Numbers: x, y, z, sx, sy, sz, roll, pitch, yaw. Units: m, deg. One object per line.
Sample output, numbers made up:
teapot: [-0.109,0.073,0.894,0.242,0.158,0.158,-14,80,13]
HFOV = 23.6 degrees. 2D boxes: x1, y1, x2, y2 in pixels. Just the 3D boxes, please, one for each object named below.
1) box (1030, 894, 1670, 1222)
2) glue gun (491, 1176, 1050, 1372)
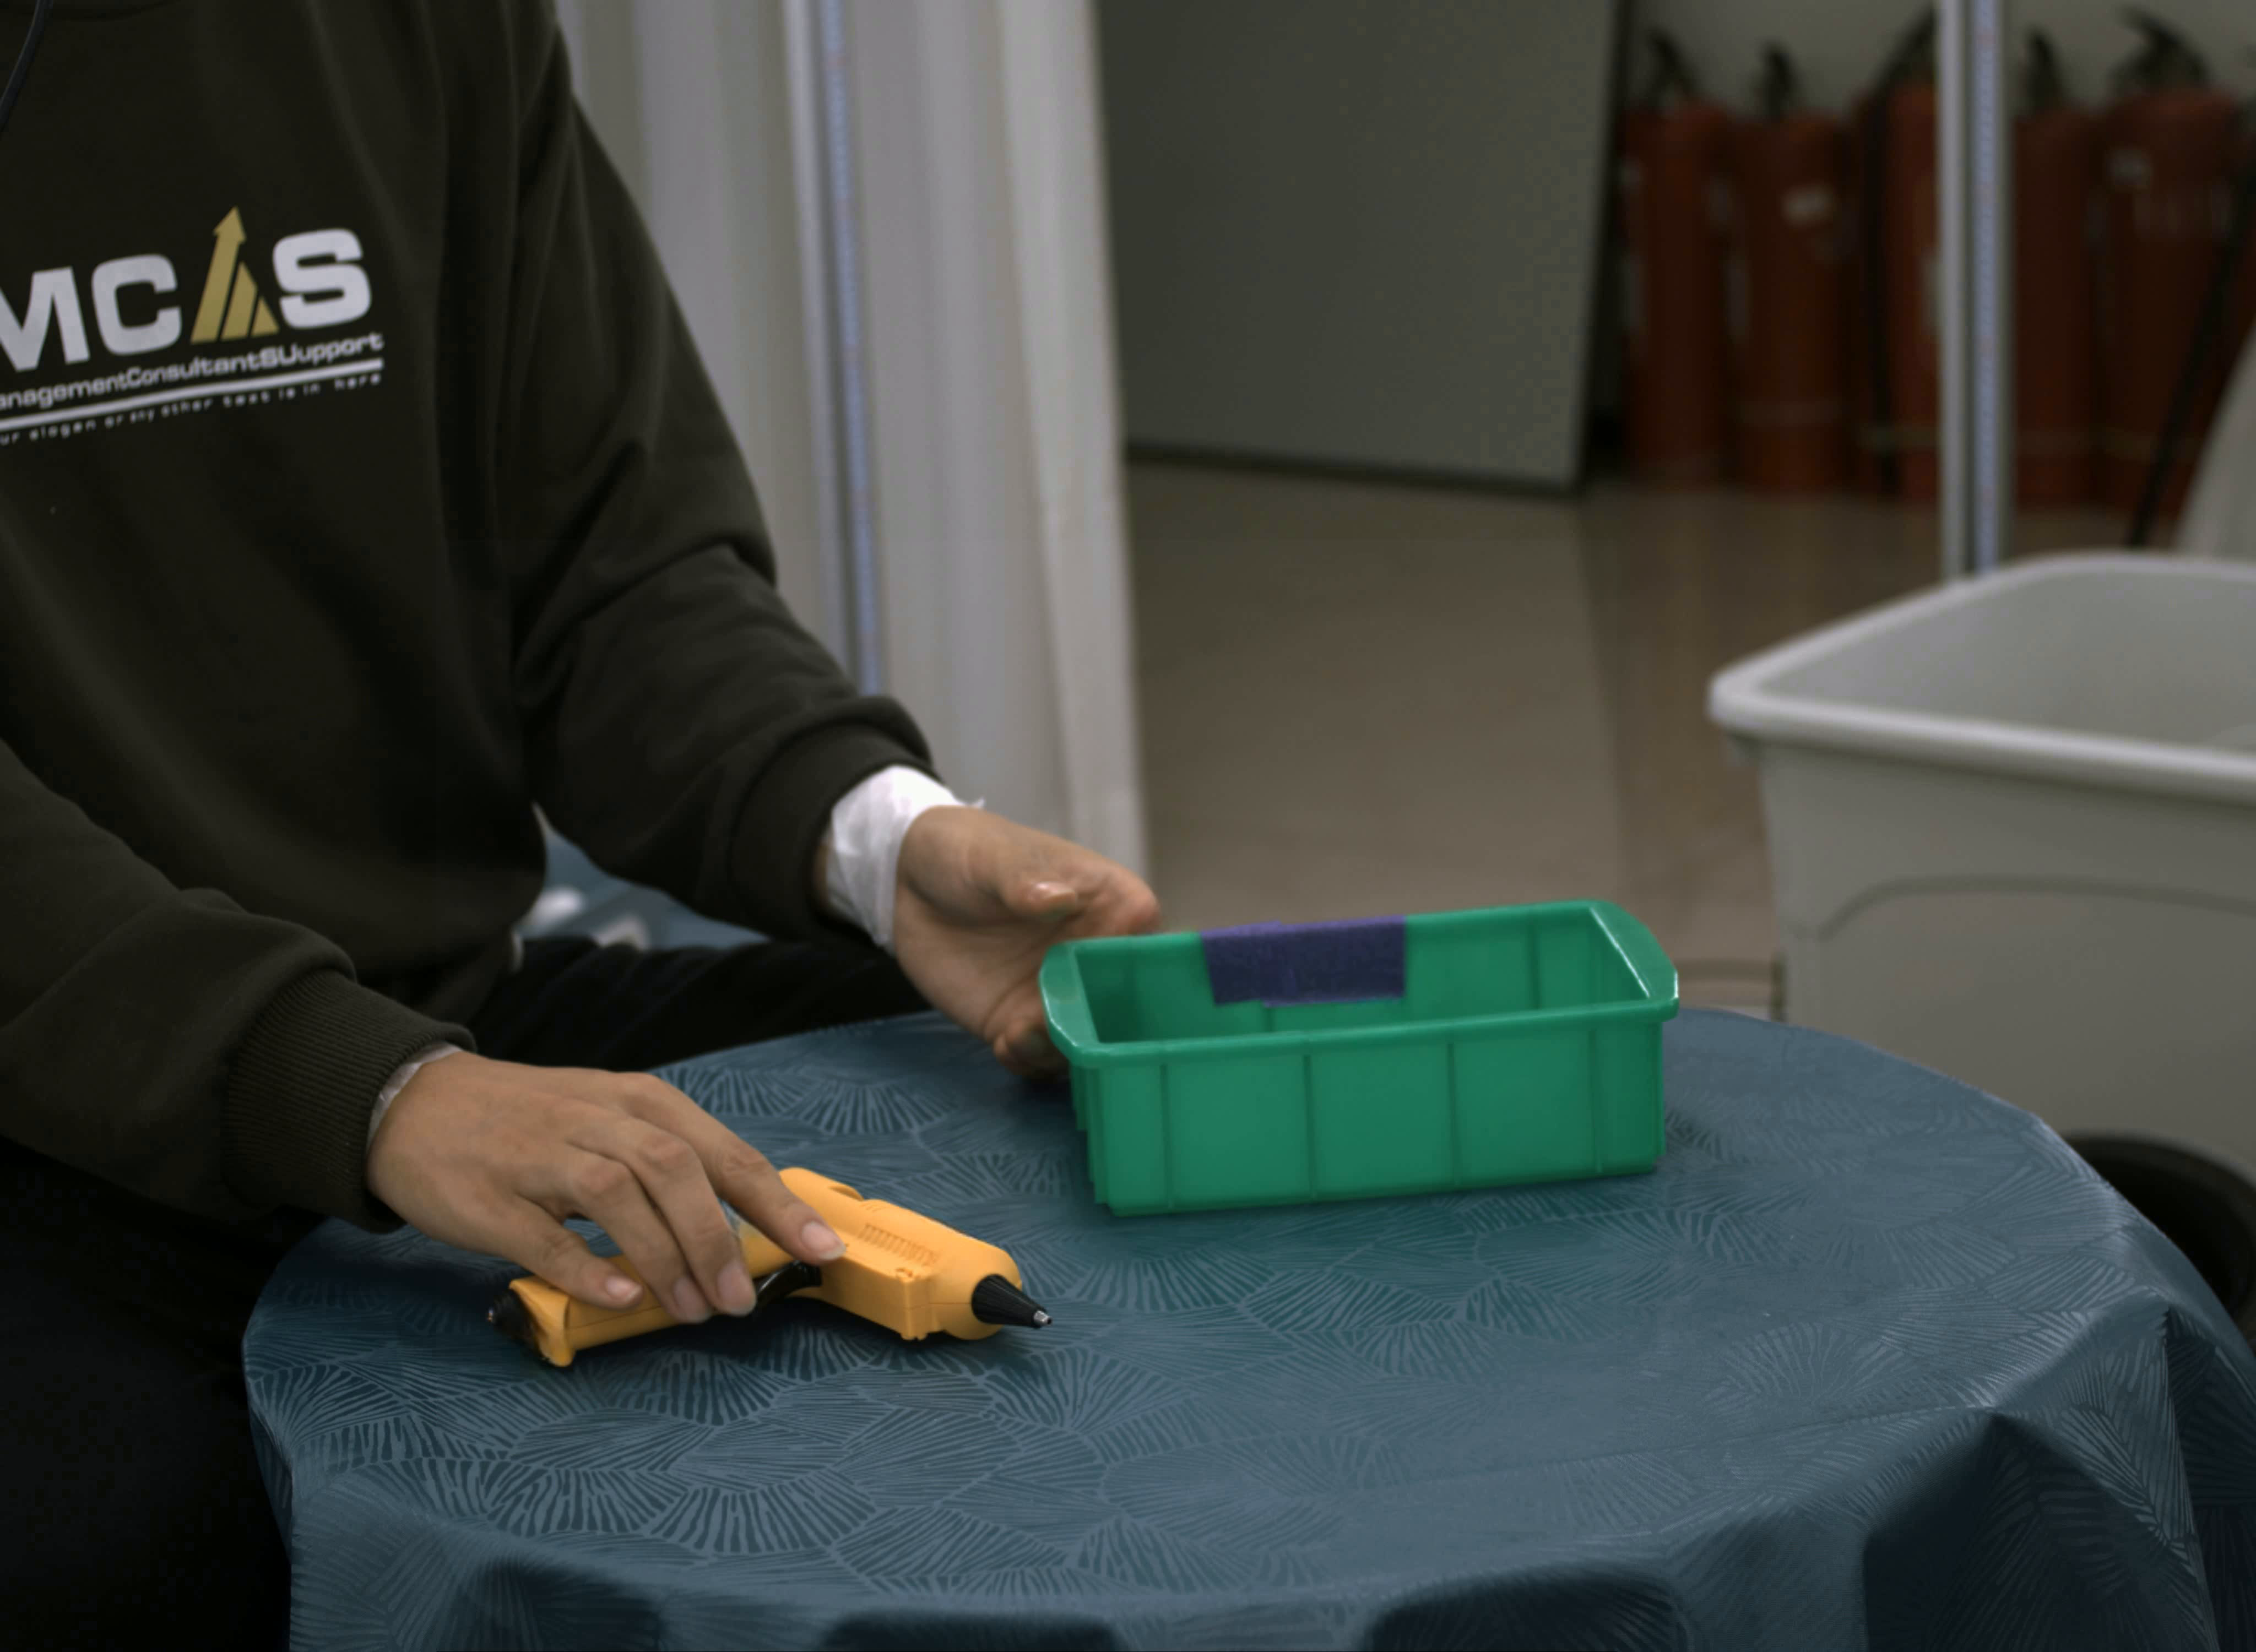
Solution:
box: [0.075,0.078,1.803,0.207,0.066,0.139,-7,12,-4]
glue gun: [-0.101,0.149,1.649,0.130,0.031,0.153,-17,19,-37]
